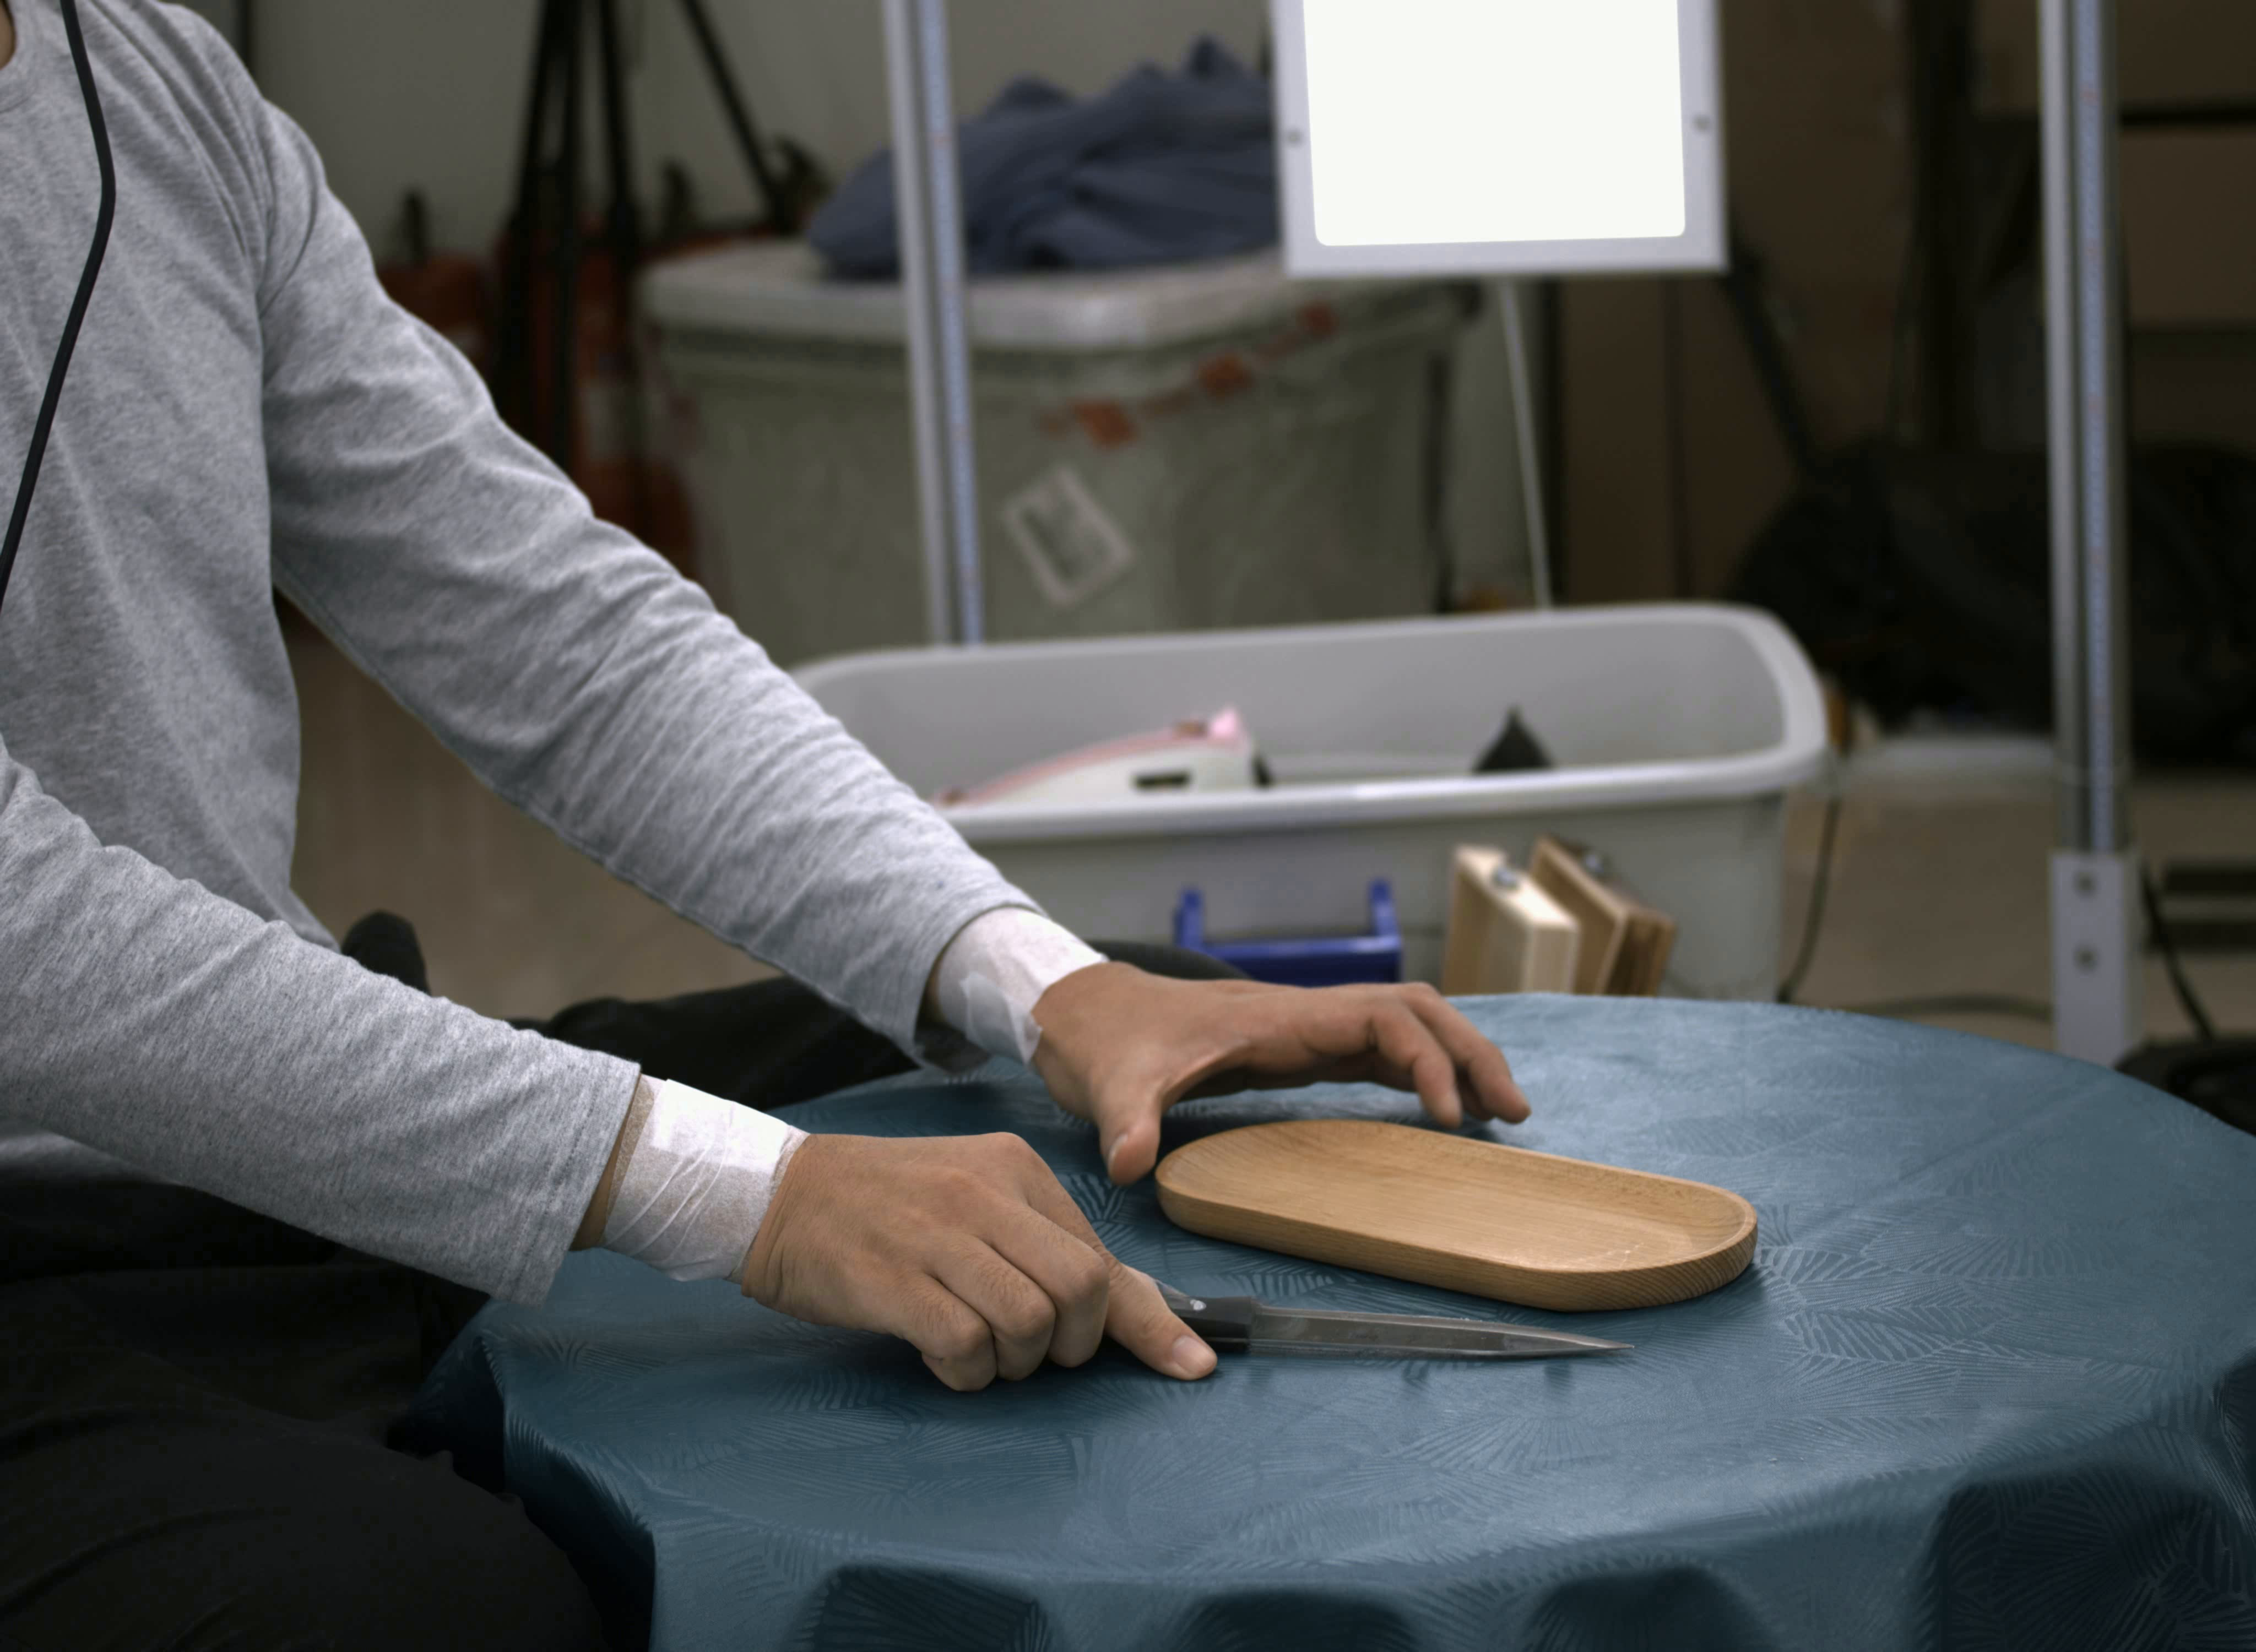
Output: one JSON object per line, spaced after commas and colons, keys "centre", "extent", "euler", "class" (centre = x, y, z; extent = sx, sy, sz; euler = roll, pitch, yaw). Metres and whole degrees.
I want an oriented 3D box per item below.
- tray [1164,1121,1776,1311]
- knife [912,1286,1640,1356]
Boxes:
{"centre": [0.111, 0.128, 1.823], "extent": [0.236, 0.020, 0.099], "euler": [9, 21, 42], "class": "tray"}
{"centre": [0.044, 0.158, 1.731], "extent": [0.241, 0.016, 0.024], "euler": [1, 22, 18], "class": "knife"}
